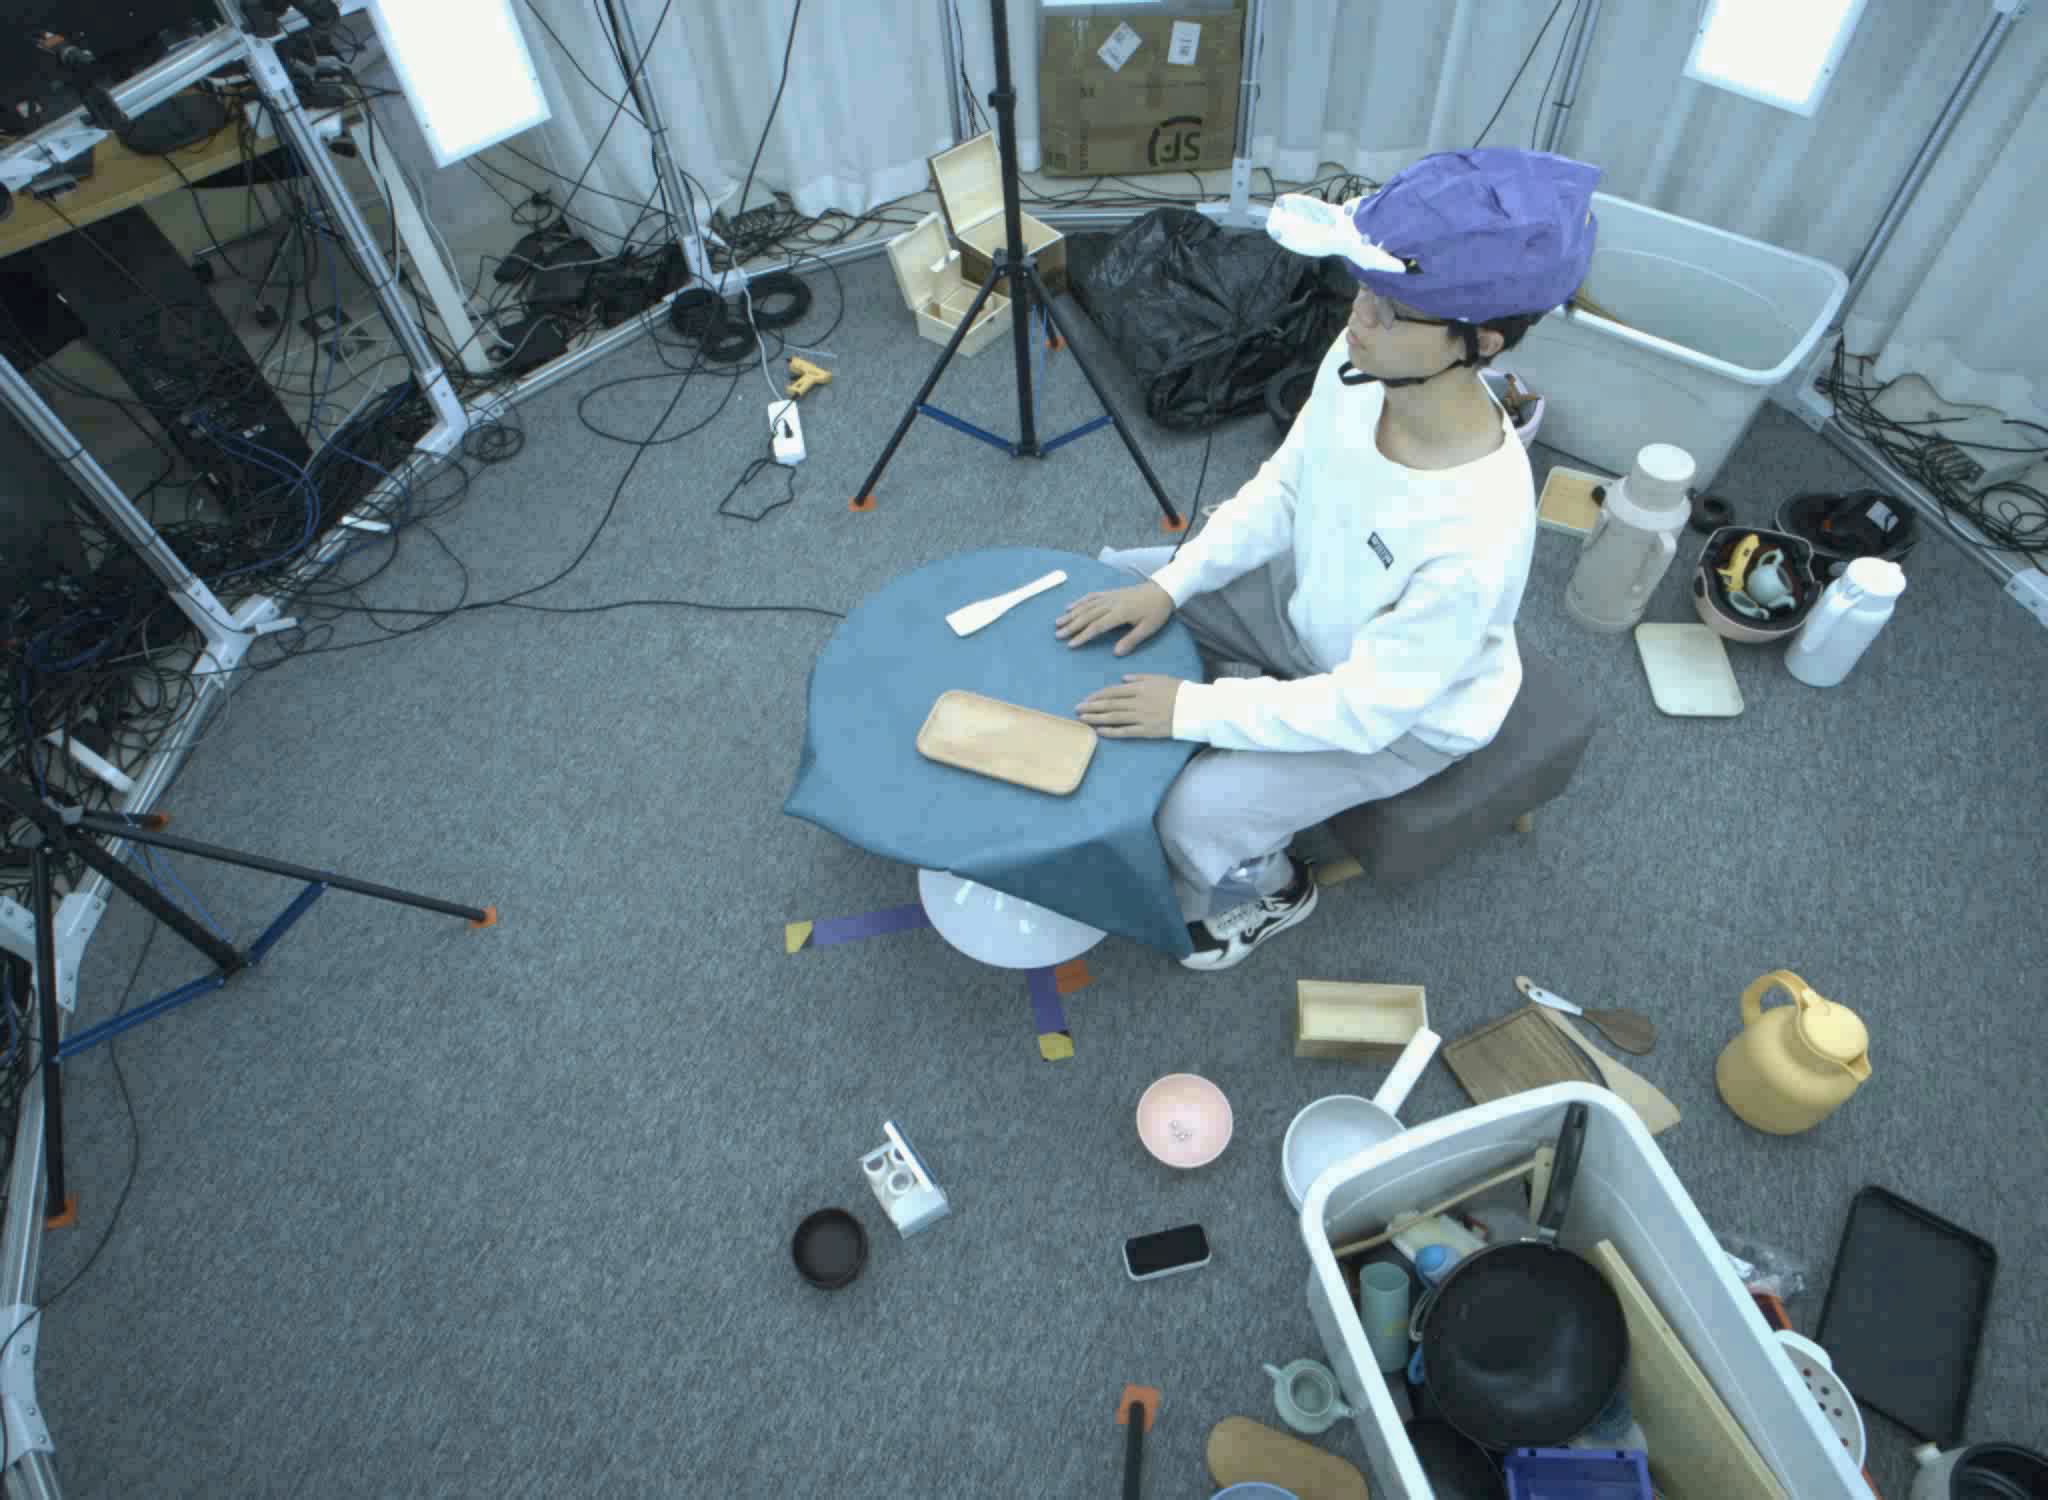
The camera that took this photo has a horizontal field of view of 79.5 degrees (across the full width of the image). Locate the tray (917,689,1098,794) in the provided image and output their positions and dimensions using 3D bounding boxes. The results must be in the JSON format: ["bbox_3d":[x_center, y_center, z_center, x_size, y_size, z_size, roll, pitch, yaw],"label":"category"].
[{"bbox_3d":[-0.024,-0.013,1.783,0.248,0.023,0.130,16,59,12],"label":"tray"}]

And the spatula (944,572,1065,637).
[{"bbox_3d":[-0.027,-0.236,1.950,0.209,0.005,0.049,-27,58,-16],"label":"spatula"}]
